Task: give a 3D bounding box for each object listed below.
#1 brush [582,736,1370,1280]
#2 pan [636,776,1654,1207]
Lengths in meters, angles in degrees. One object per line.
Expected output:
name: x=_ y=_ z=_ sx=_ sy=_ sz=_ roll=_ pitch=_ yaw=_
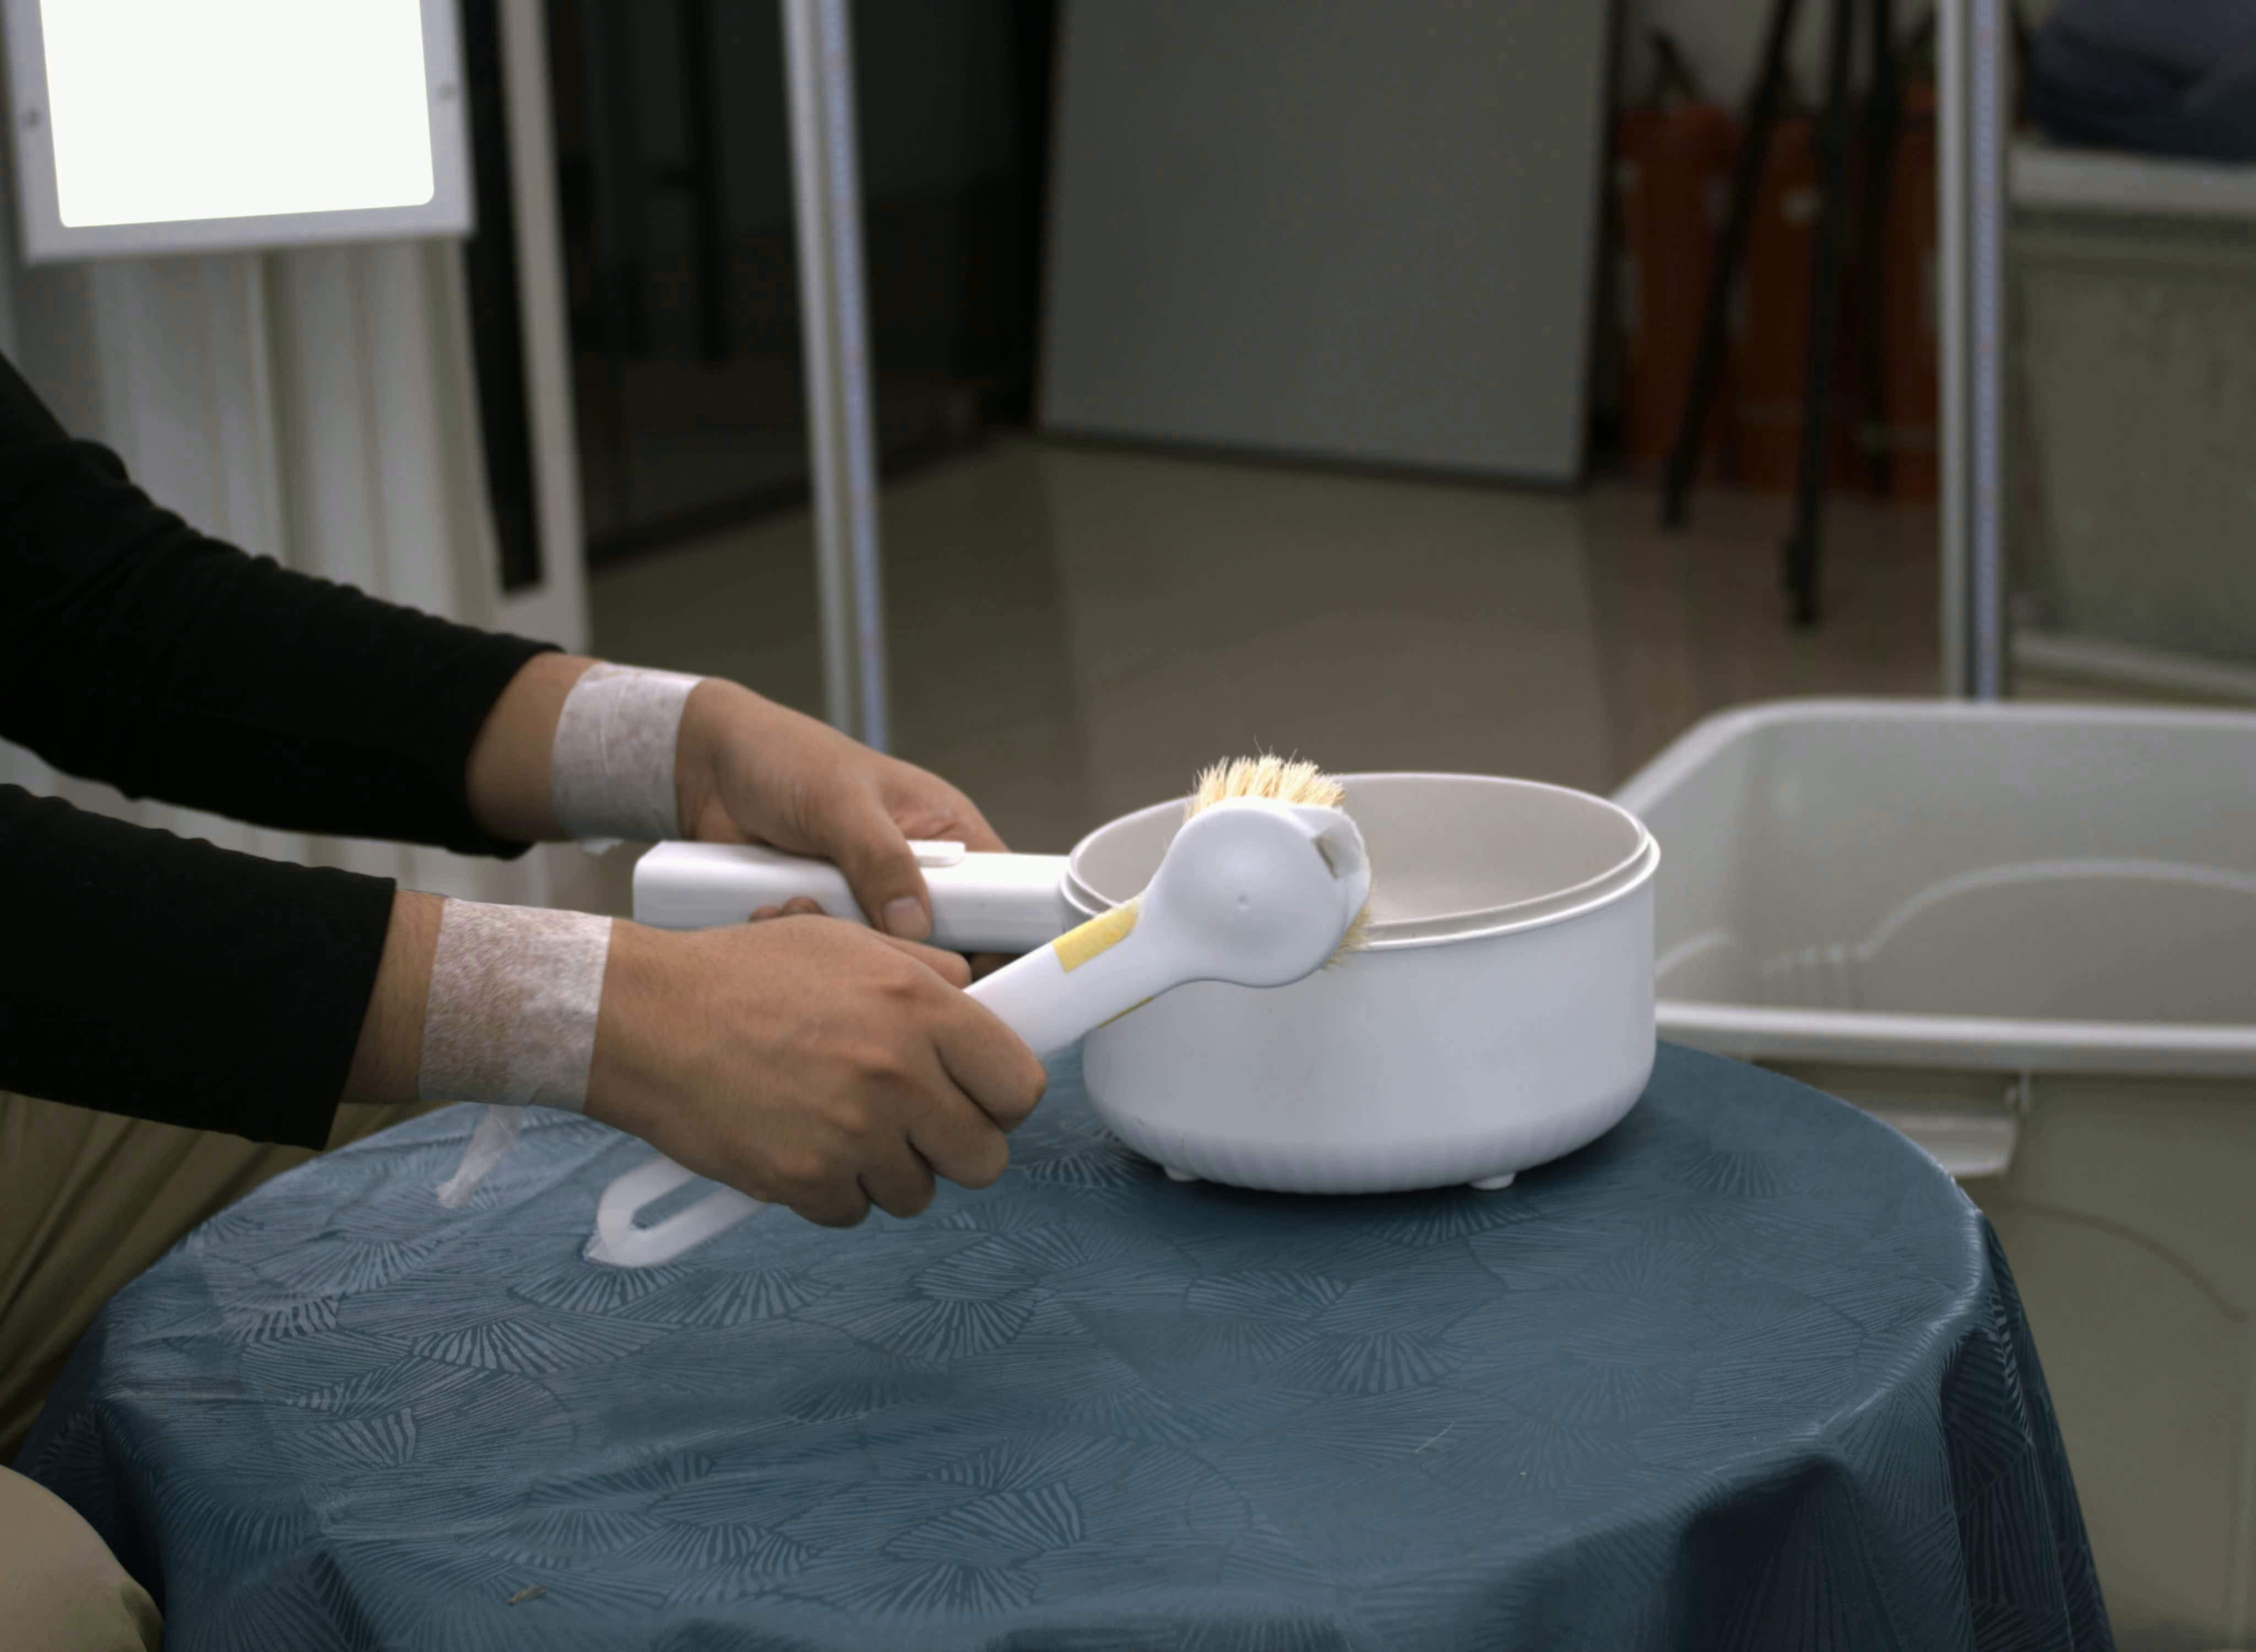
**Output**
brush: x=-0.046 y=0.058 z=1.624 sx=0.265 sy=0.069 sz=0.056 roll=-31 pitch=-4 yaw=5
pan: x=0.006 y=0.058 z=1.825 sx=0.353 sy=0.103 sz=0.199 roll=-1 pitch=15 yaw=17
